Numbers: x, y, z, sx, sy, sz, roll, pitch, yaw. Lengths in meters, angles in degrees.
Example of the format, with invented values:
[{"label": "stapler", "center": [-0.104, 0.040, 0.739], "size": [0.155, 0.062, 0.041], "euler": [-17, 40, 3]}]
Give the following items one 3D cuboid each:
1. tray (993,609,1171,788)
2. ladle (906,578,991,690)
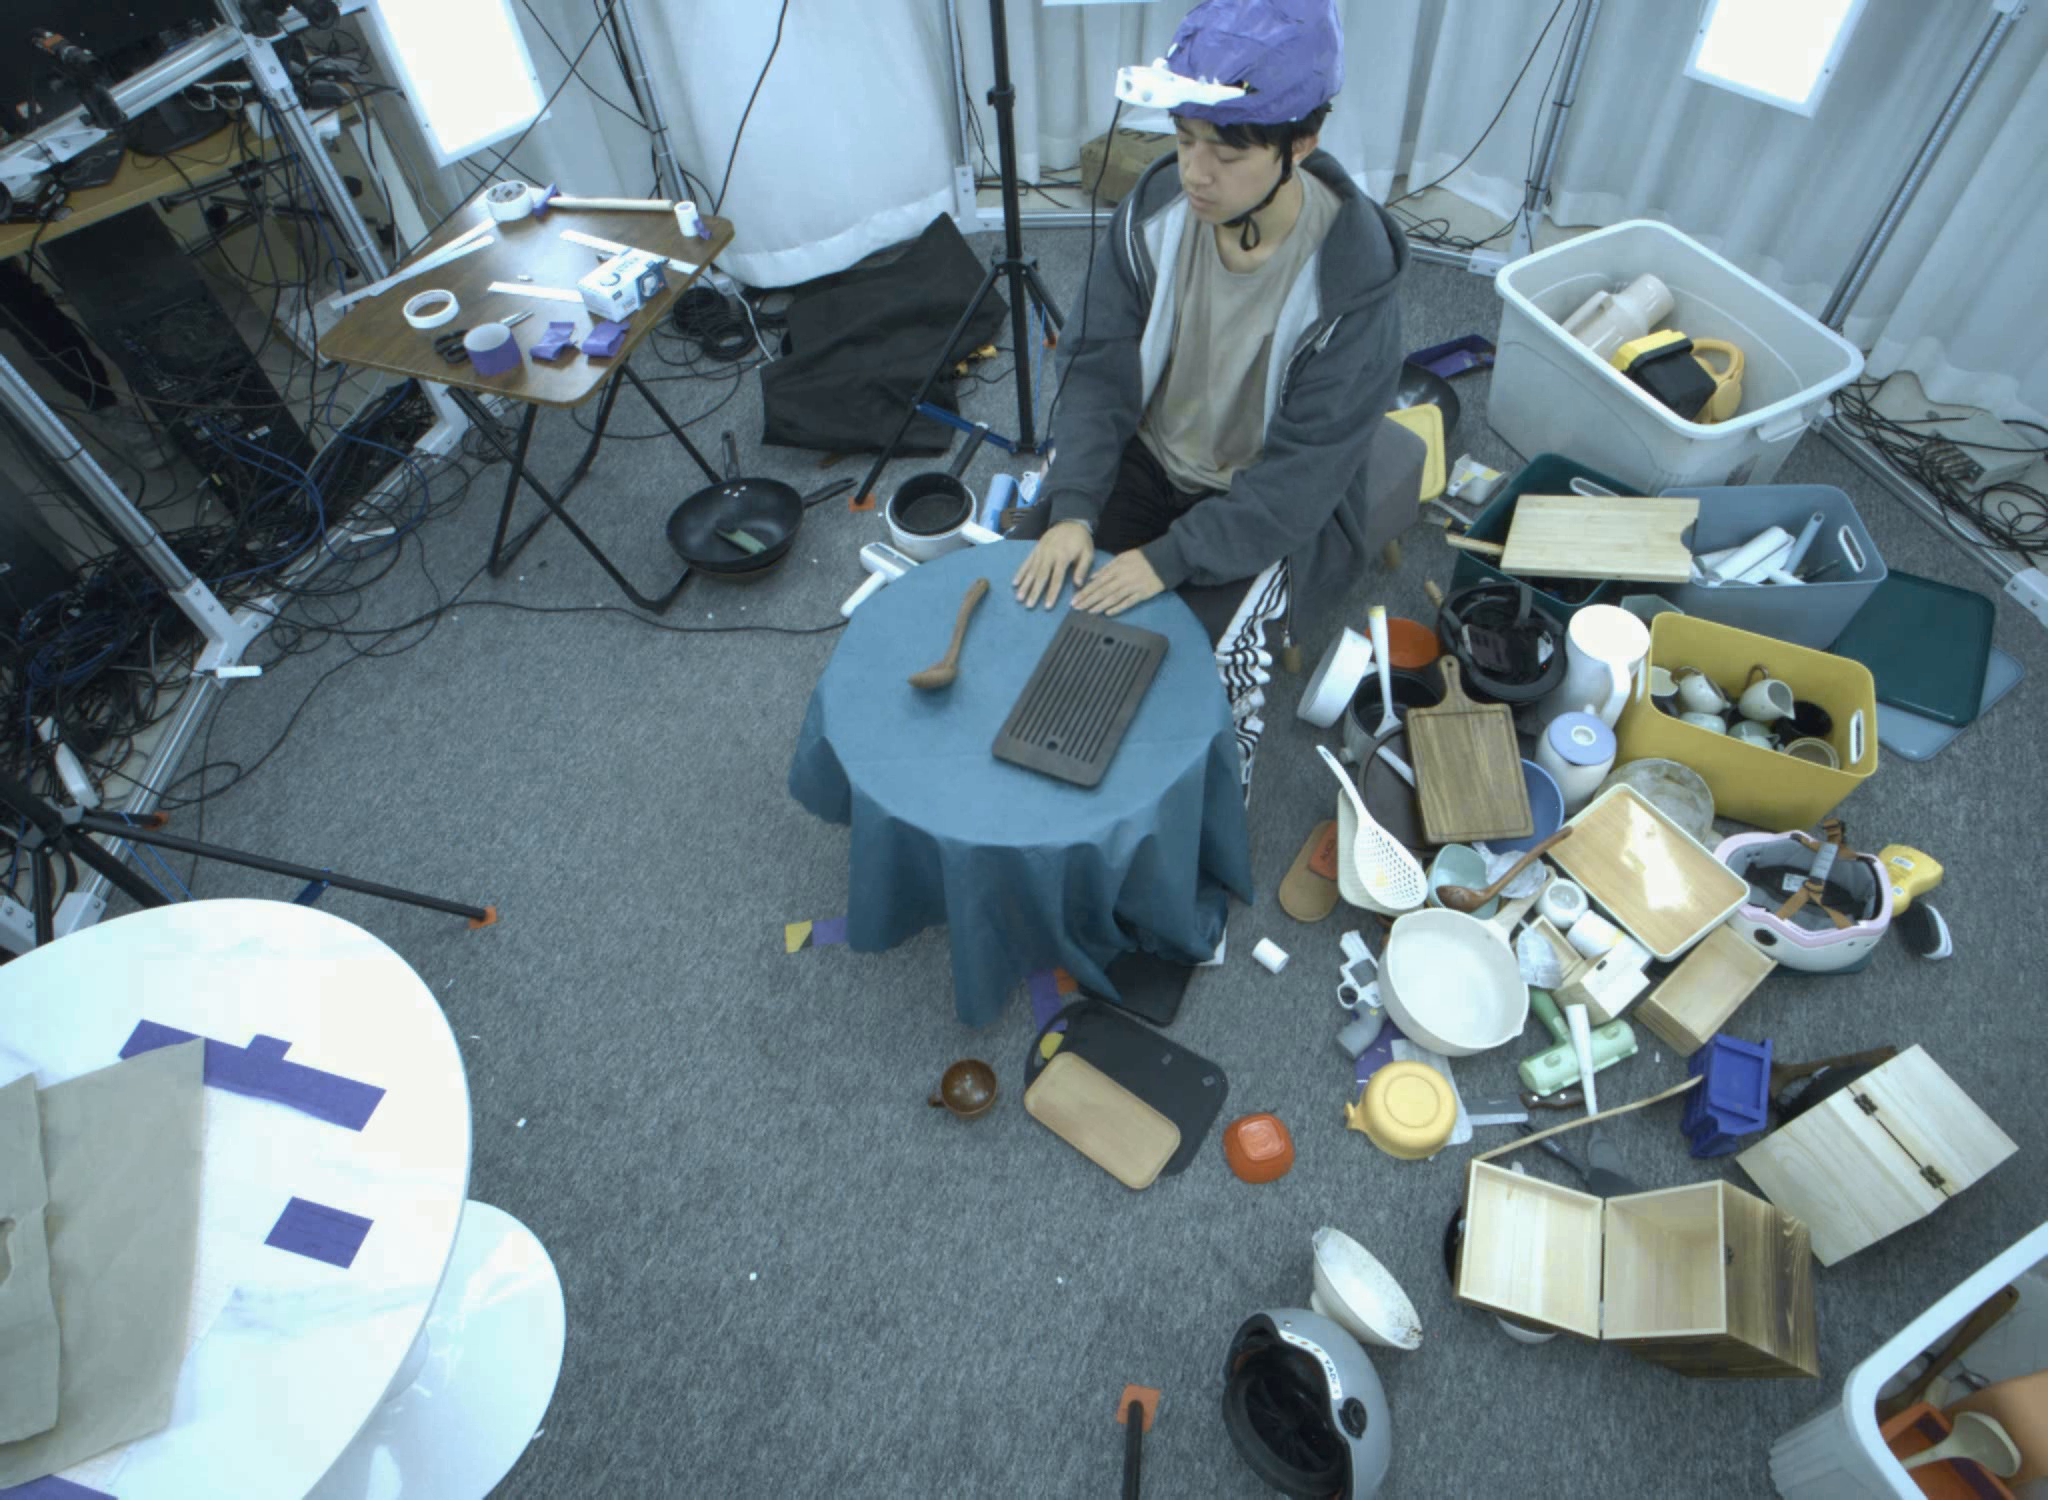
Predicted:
[{"label": "tray", "center": [0.090, -0.081, 1.834], "size": [0.168, 0.019, 0.306], "euler": [19, 57, 15]}, {"label": "ladle", "center": [-0.109, -0.189, 1.889], "size": [0.075, 0.066, 0.259], "euler": [0, 52, 28]}]
